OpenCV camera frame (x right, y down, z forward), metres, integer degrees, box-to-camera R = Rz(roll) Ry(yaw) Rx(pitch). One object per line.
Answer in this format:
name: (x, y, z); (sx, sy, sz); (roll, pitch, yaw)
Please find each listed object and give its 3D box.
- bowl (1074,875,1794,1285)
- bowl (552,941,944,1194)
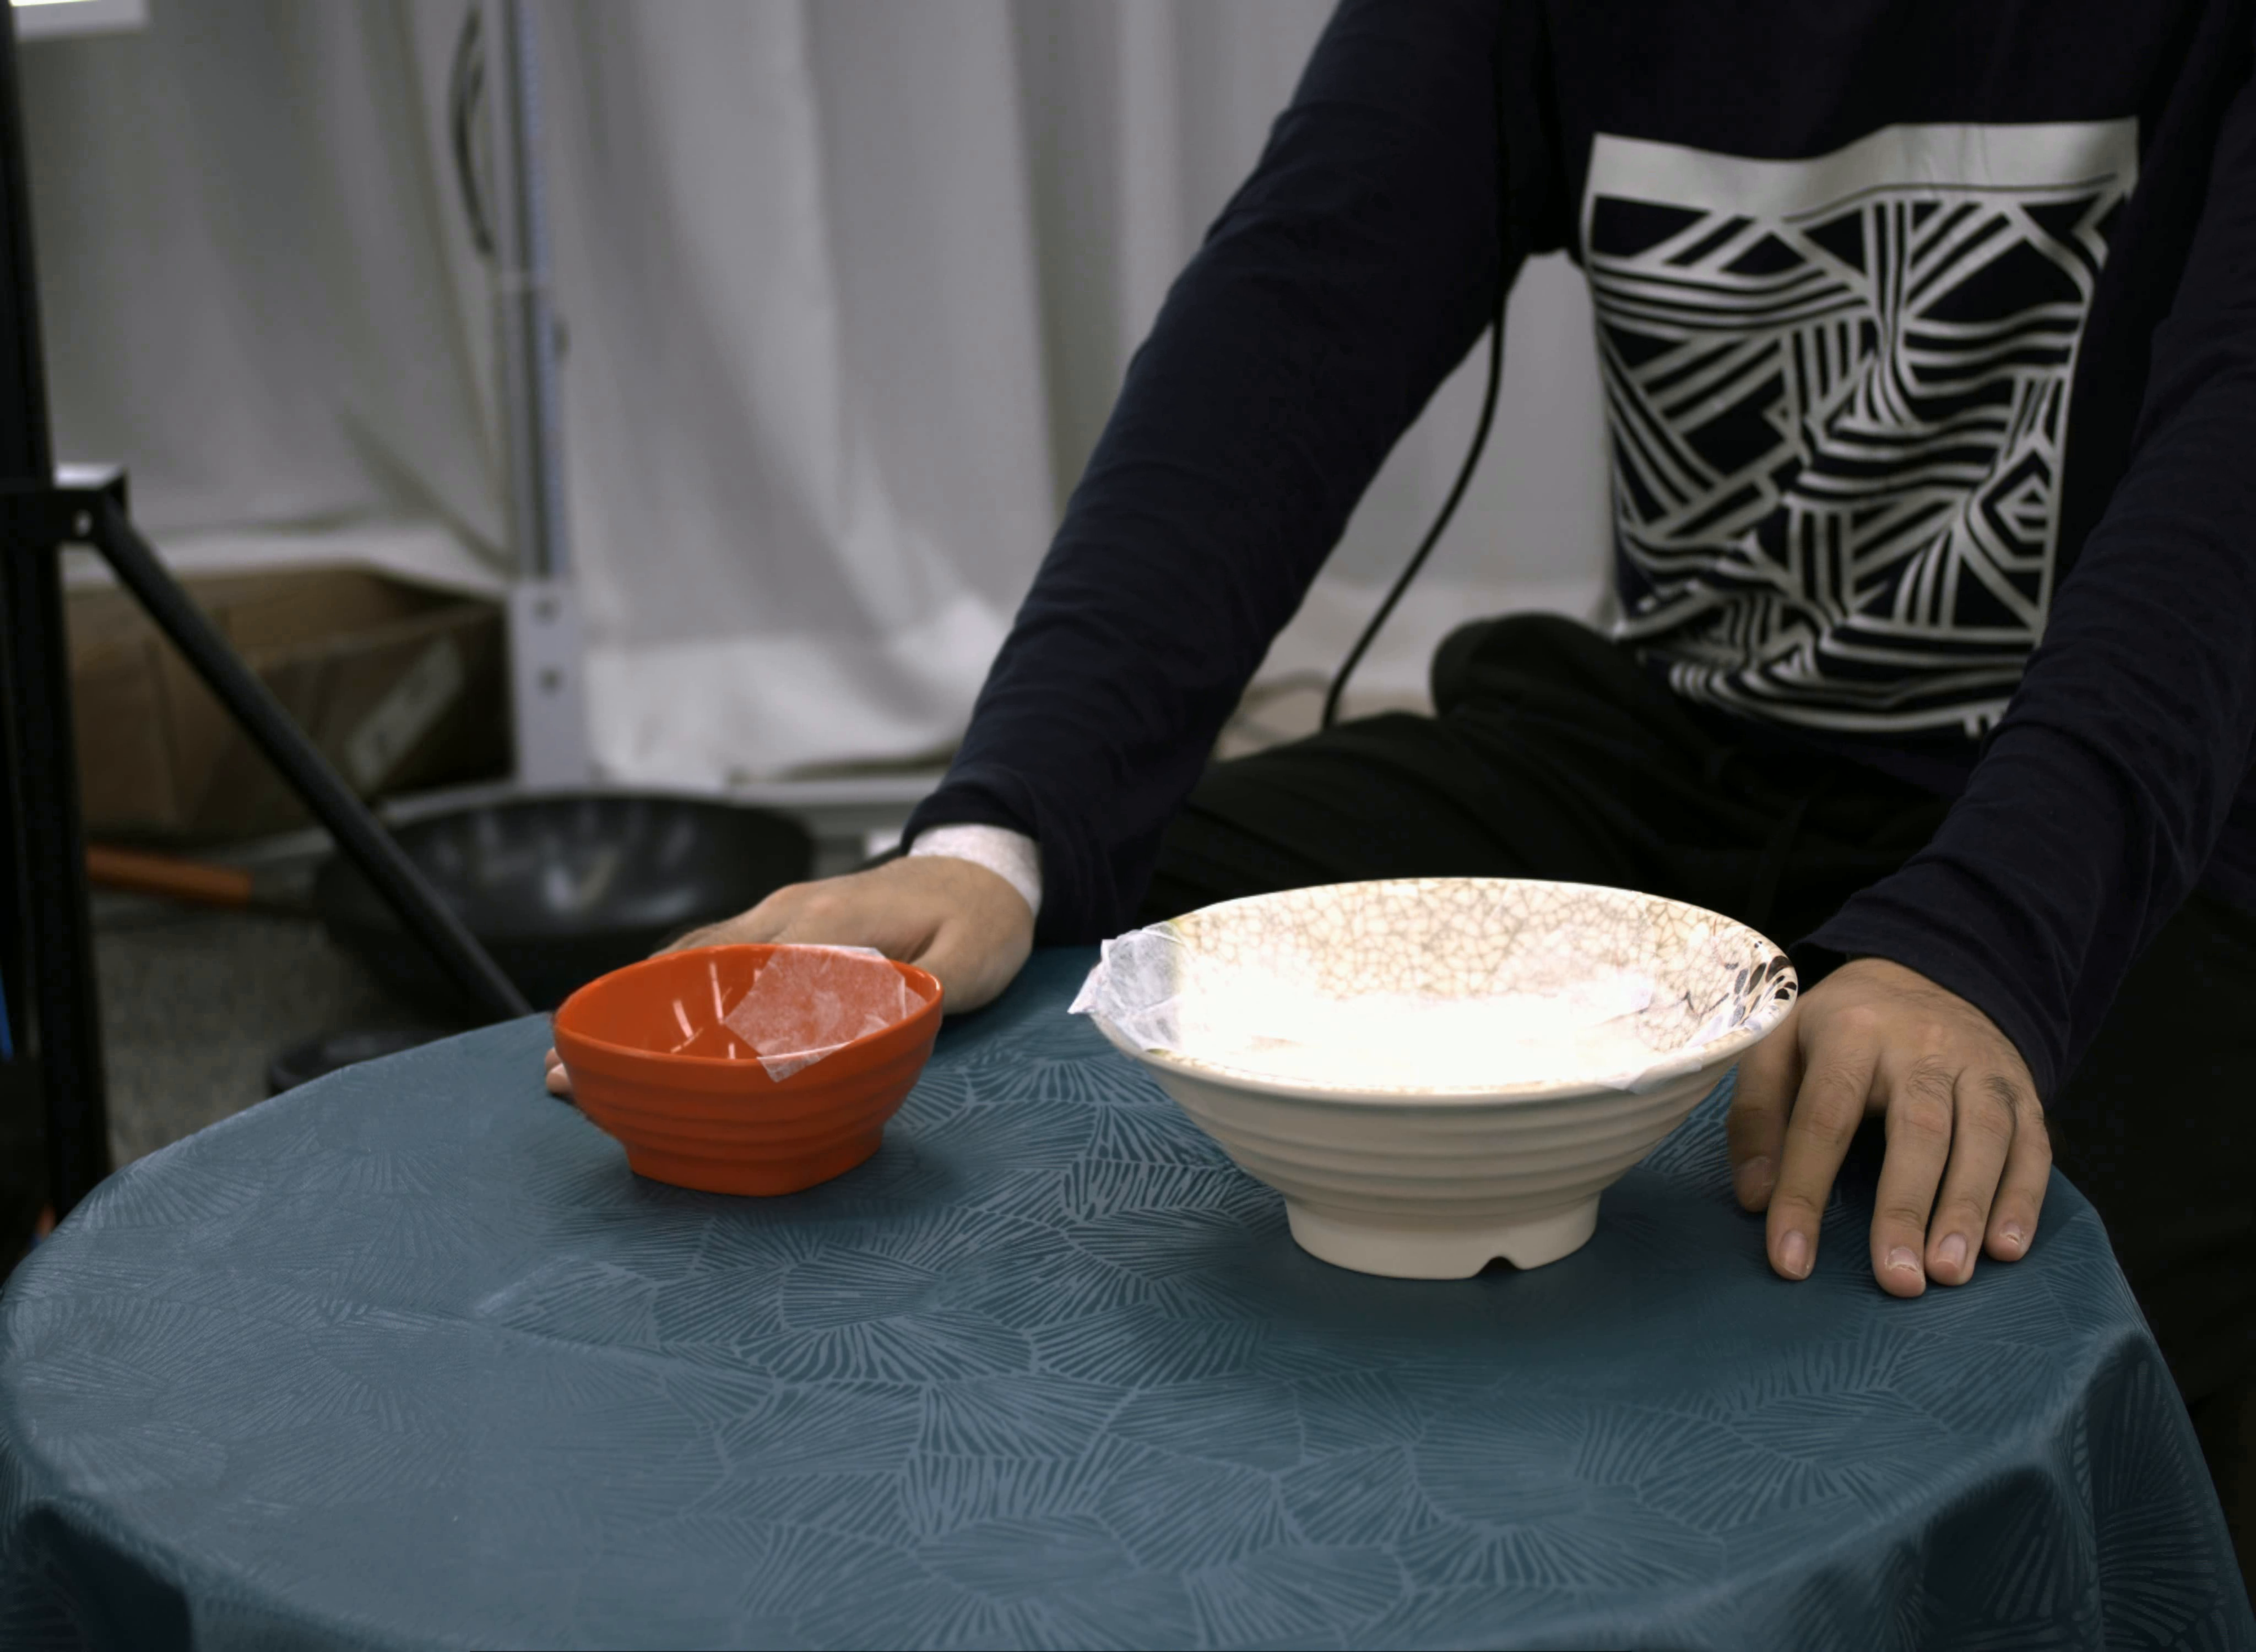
bowl: (0.087, 0.079, 1.510); (0.203, 0.078, 0.205); (-2, 16, -1)
bowl: (-0.112, 0.075, 1.602); (0.118, 0.051, 0.119); (-4, 15, 0)
